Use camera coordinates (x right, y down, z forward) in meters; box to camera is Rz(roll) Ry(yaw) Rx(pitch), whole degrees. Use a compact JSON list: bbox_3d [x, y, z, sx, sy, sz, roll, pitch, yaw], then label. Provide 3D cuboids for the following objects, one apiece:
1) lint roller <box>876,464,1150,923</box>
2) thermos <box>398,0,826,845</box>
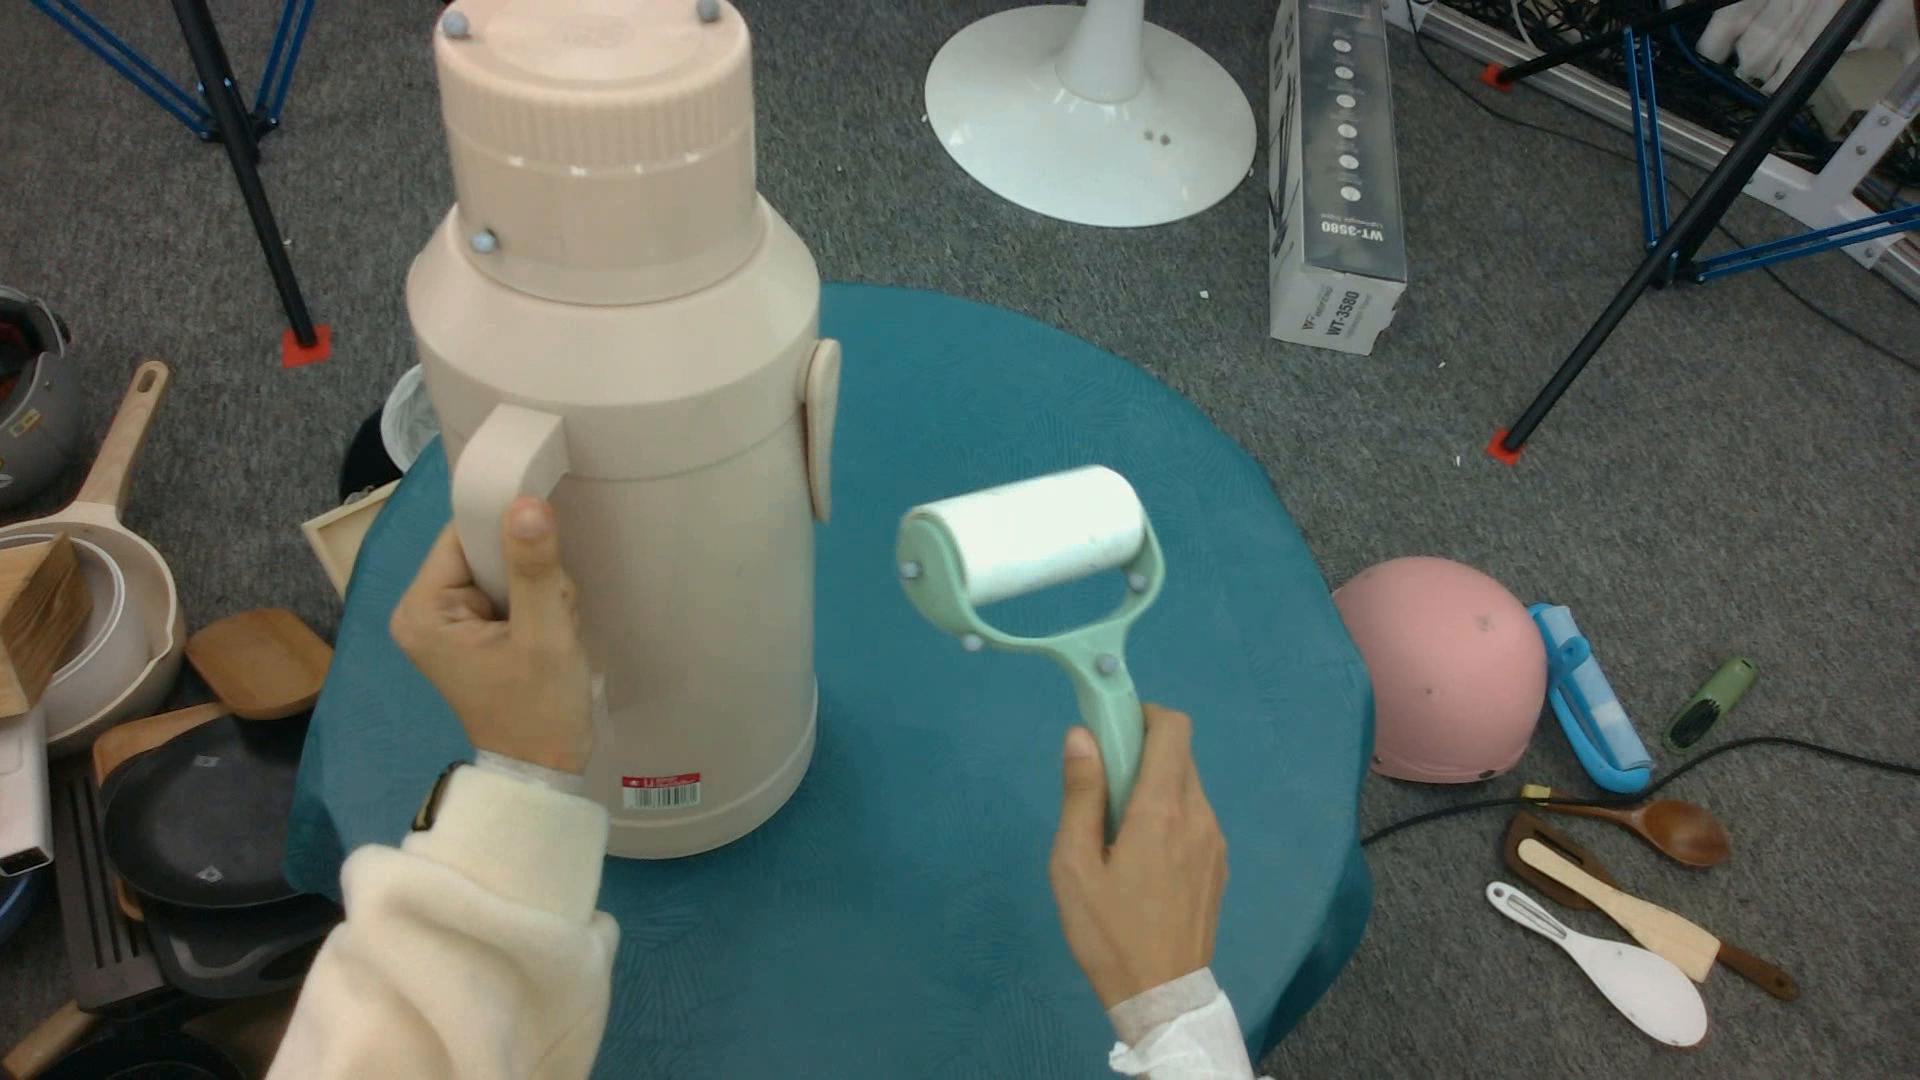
[{"bbox_3d":[0.044,0.066,0.585,0.117,0.048,0.198,-11,76,-38],"label":"lint roller"},{"bbox_3d":[-0.152,-0.030,0.602,0.175,0.404,0.208,13,45,5],"label":"thermos"}]
